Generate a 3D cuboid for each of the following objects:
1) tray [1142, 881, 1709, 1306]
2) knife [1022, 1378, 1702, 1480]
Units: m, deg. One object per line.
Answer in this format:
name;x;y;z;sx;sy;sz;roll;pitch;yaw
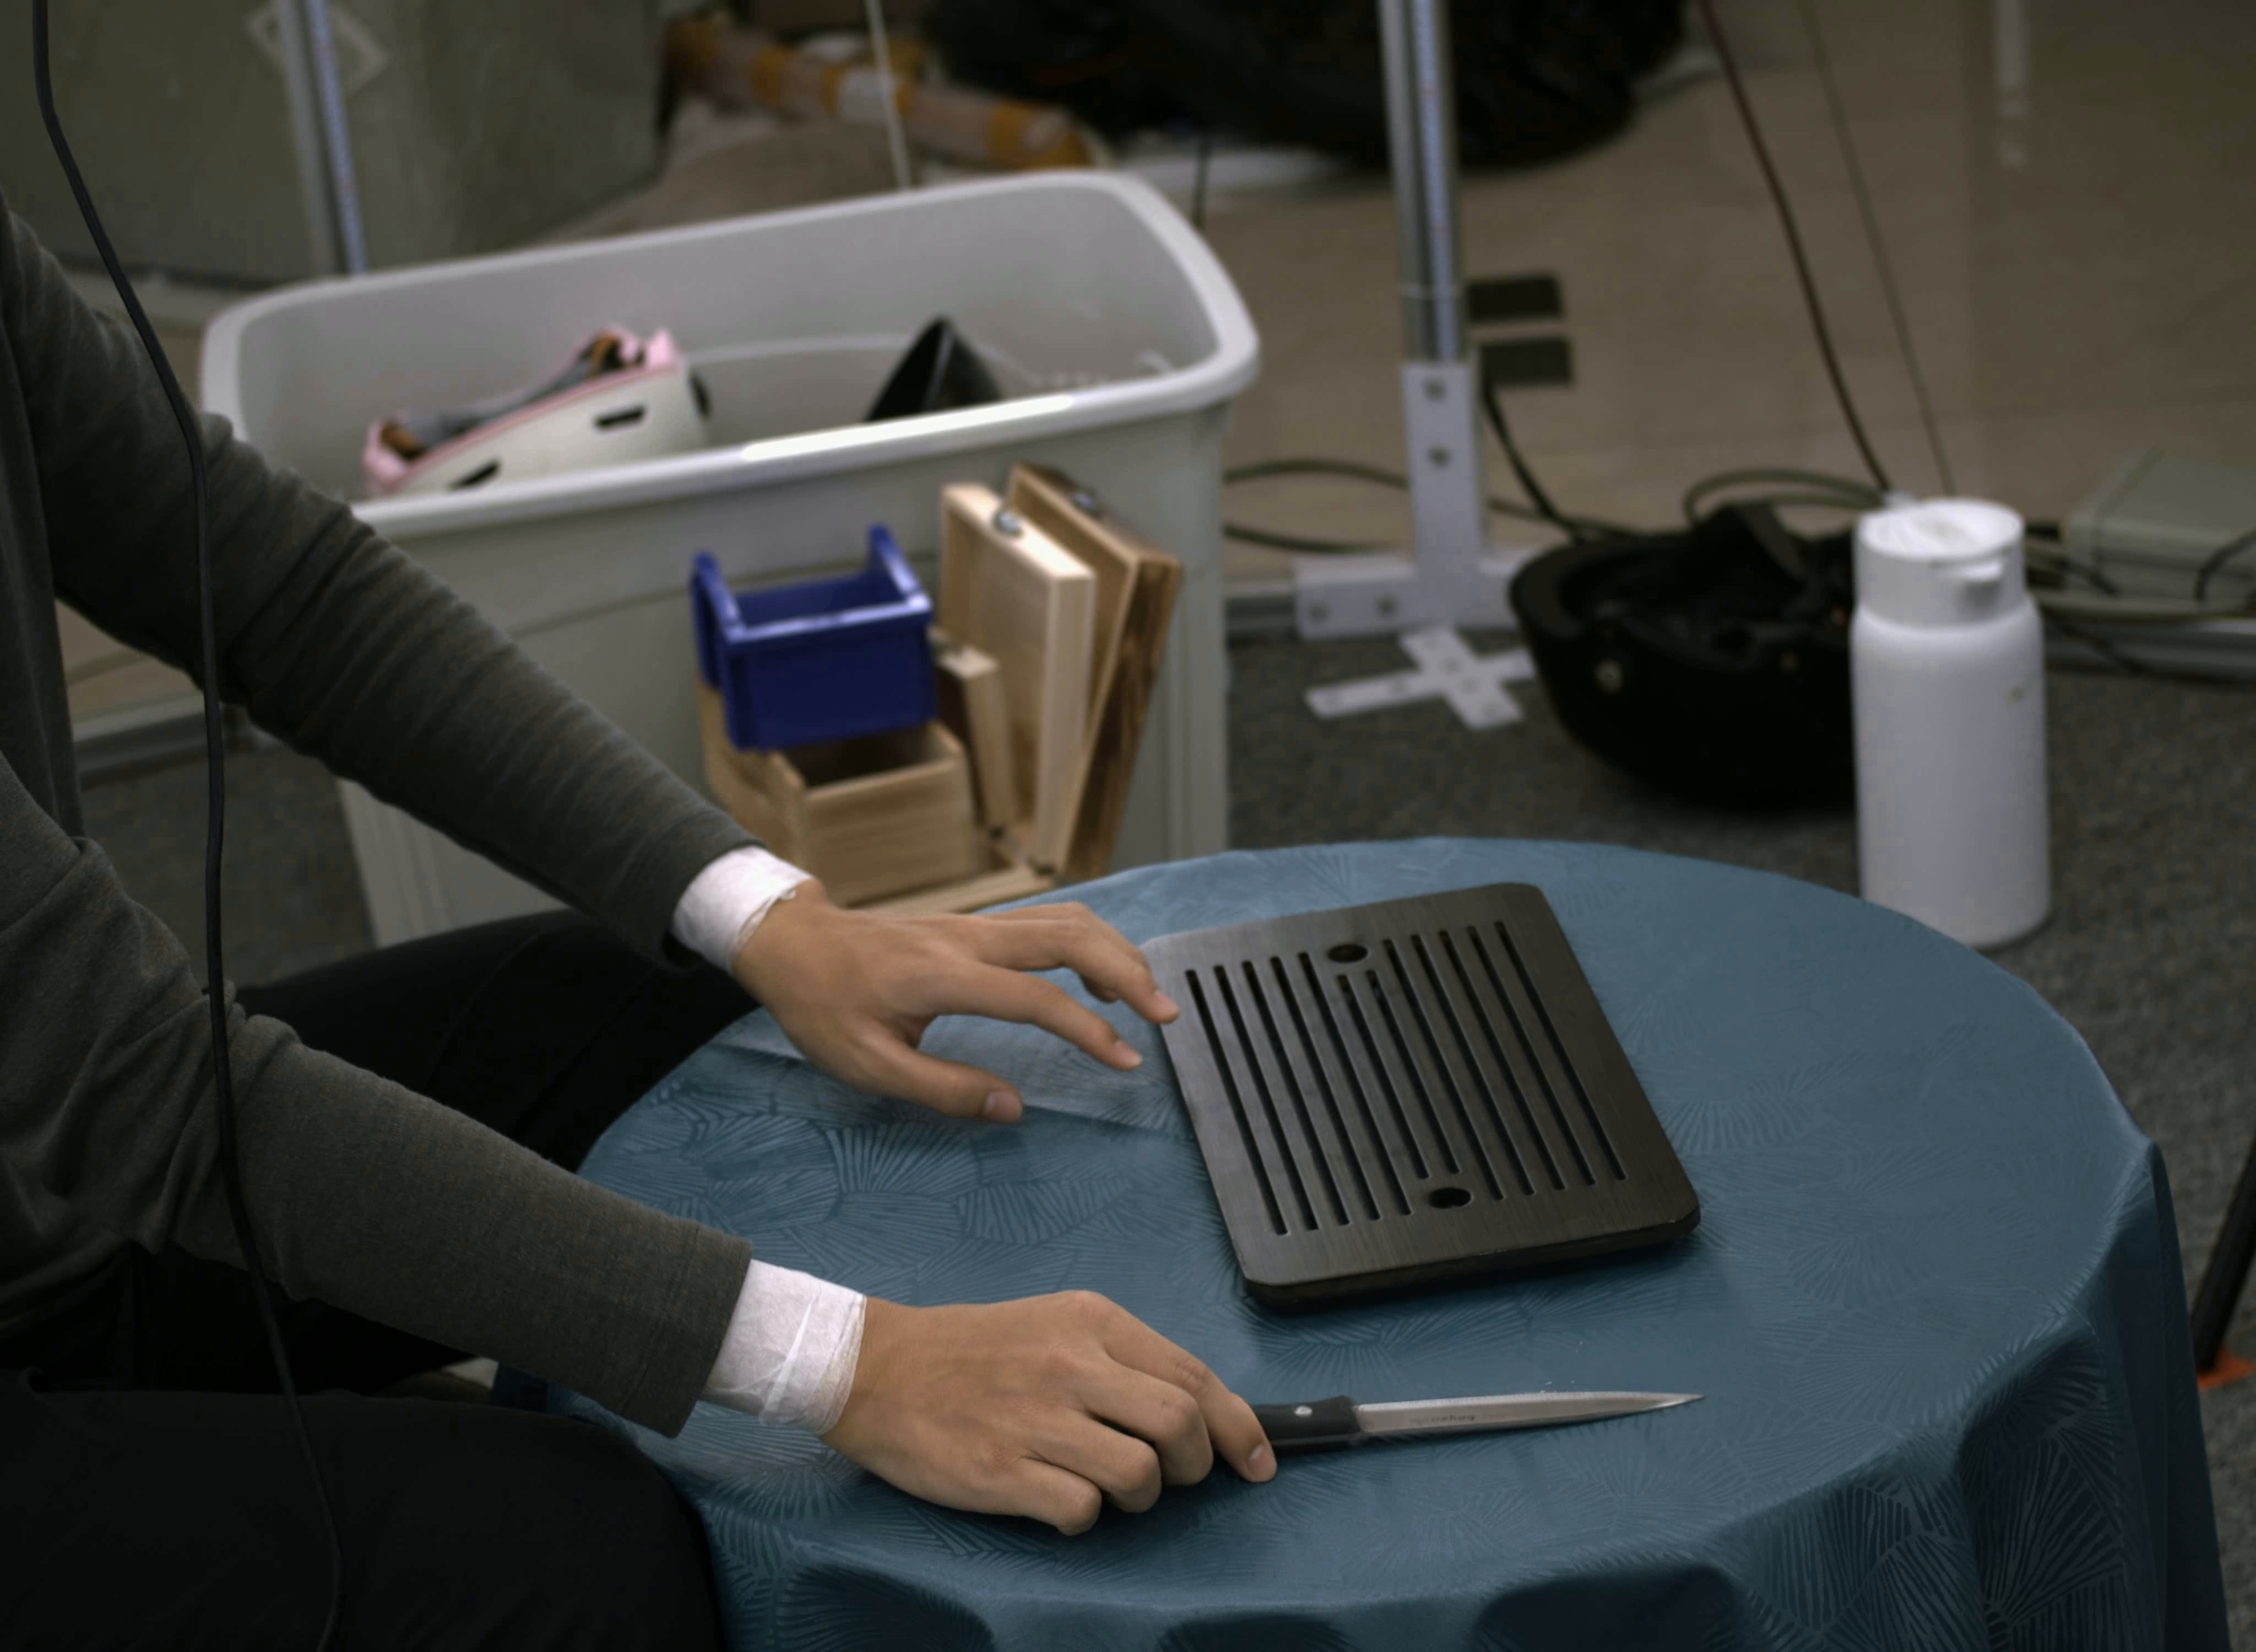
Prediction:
tray;0.109;0.101;2.186;0.170;0.019;0.301;-9;25;-5
knife;0.082;0.207;1.969;0.238;0.016;0.024;-6;28;-2
